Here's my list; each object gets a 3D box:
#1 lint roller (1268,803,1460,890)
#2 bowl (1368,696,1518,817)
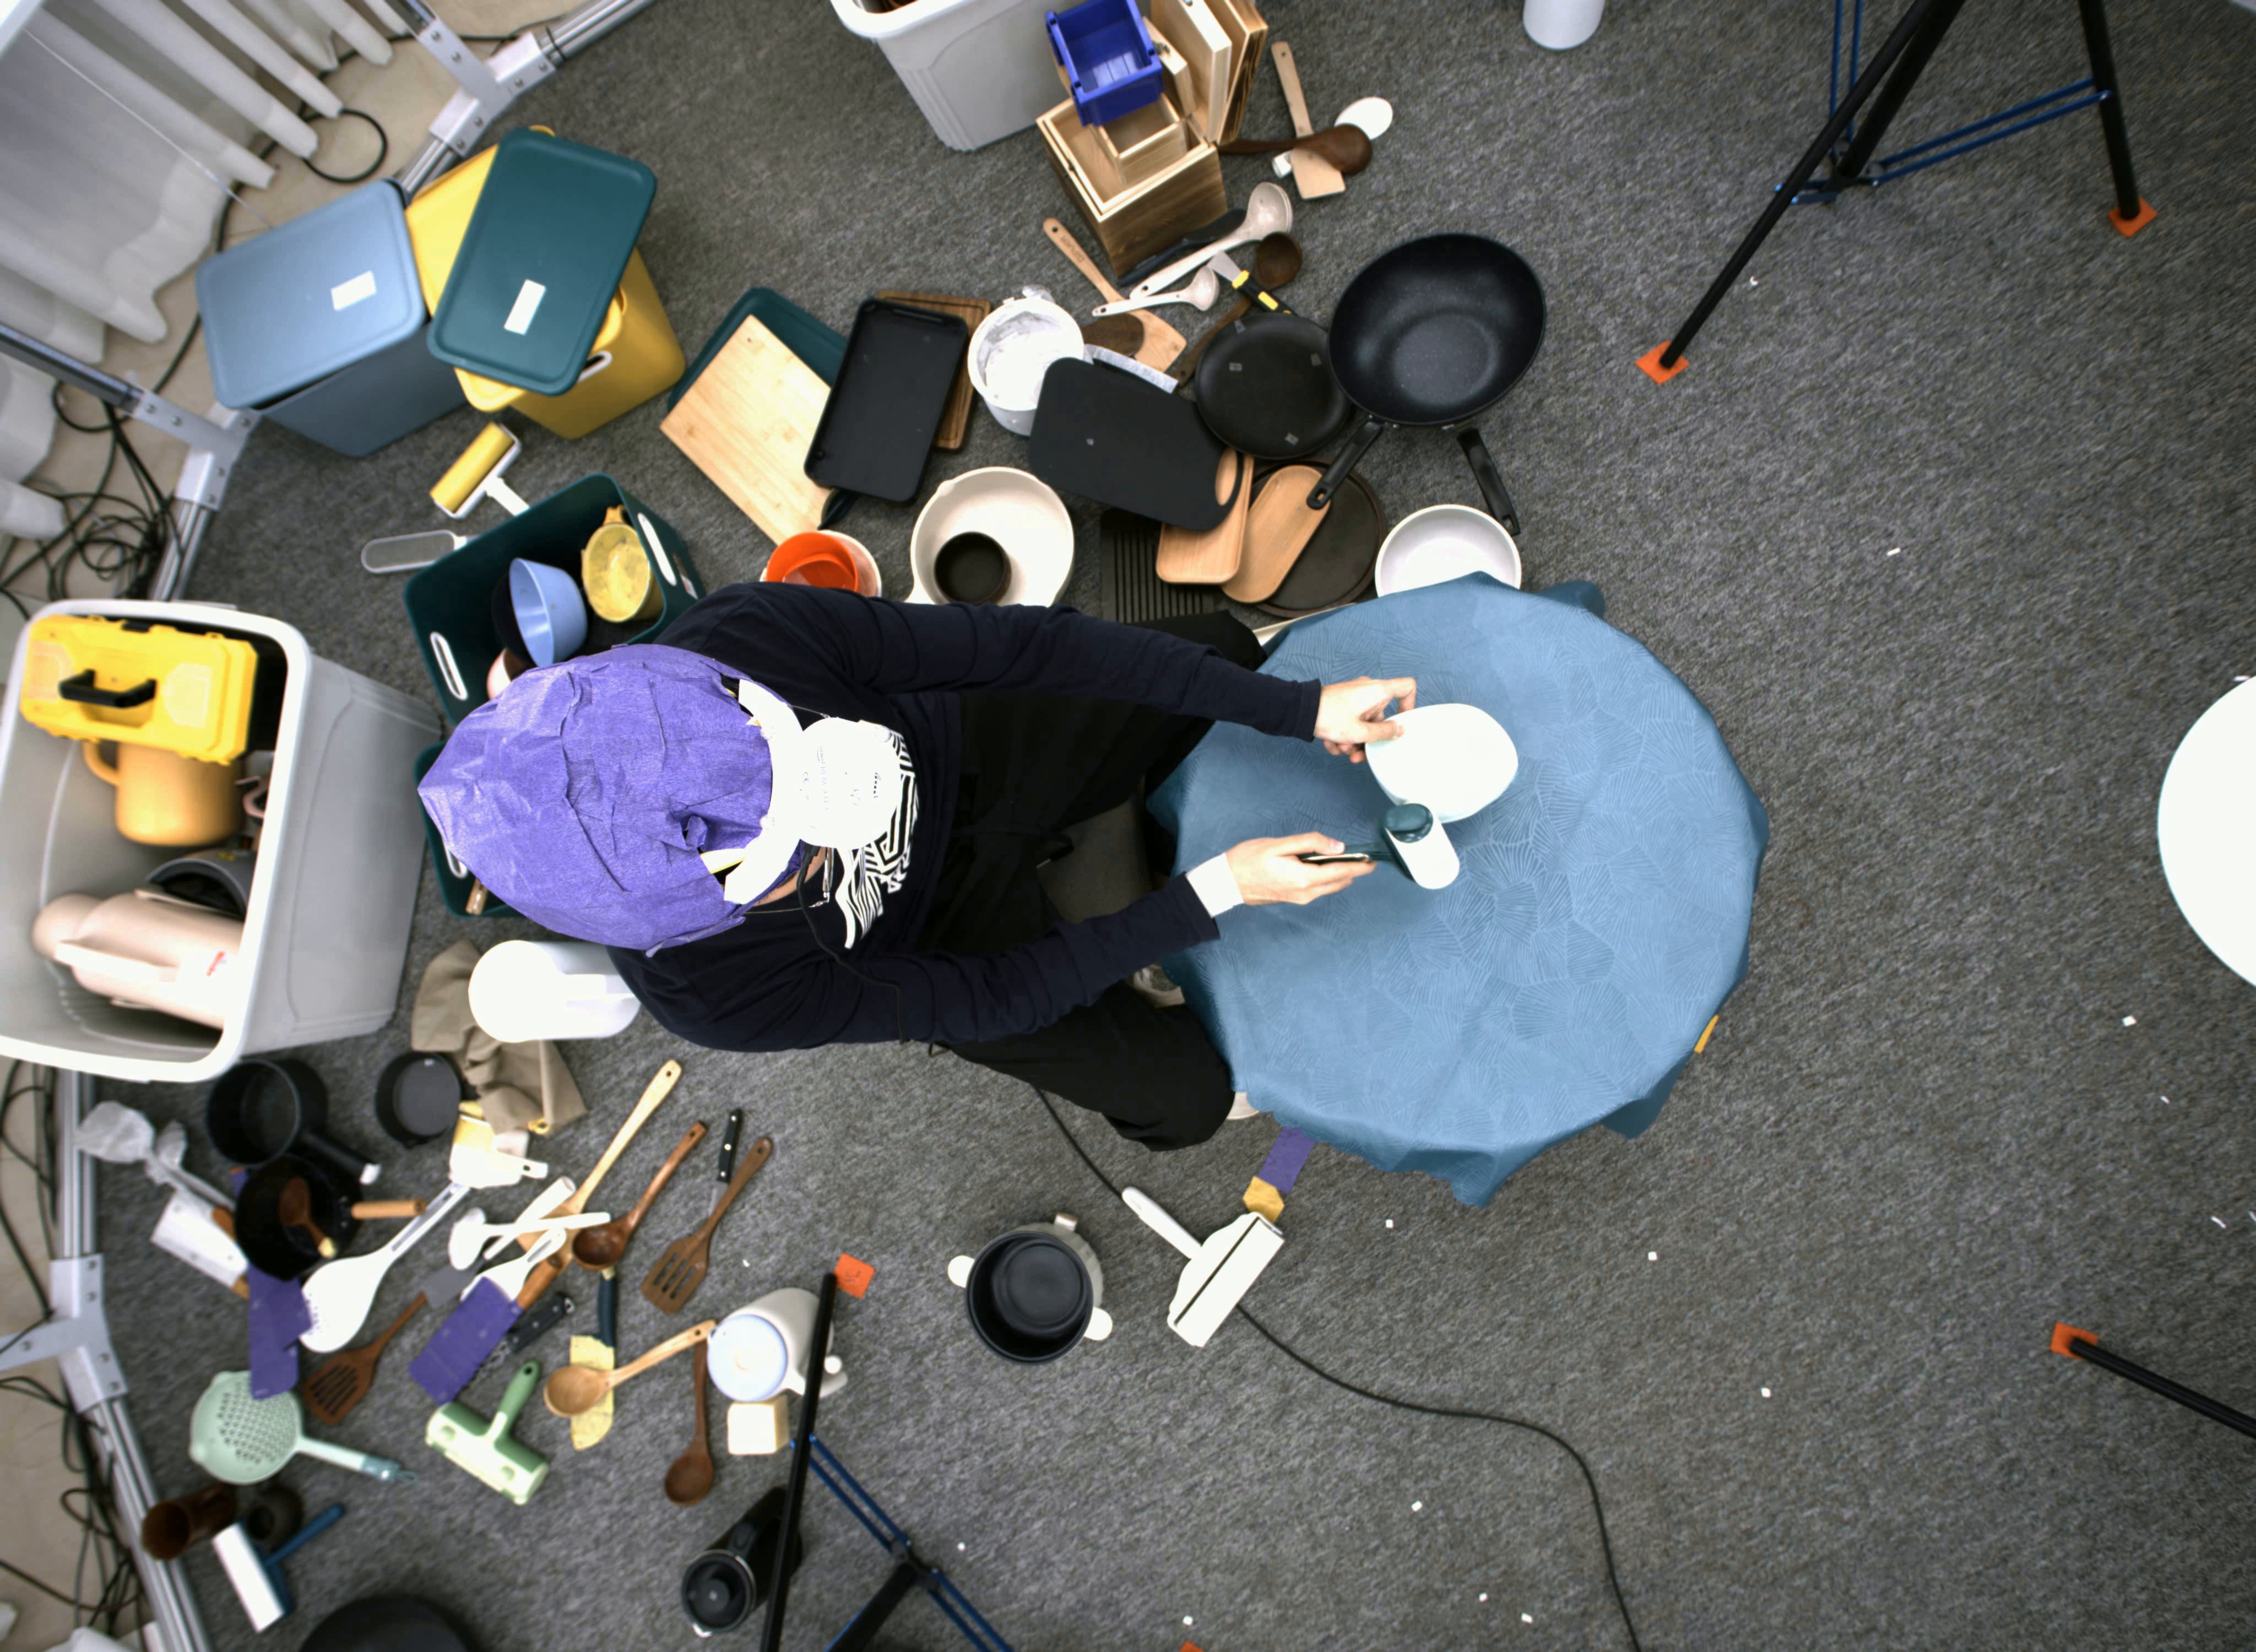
[{"bbox_3d":[0.223,0.034,1.345,0.182,0.136,0.047,-14,59,21],"label":"lint roller"},{"bbox_3d":[0.303,-0.061,1.350,0.151,0.060,0.147,1,50,-2],"label":"bowl"}]
